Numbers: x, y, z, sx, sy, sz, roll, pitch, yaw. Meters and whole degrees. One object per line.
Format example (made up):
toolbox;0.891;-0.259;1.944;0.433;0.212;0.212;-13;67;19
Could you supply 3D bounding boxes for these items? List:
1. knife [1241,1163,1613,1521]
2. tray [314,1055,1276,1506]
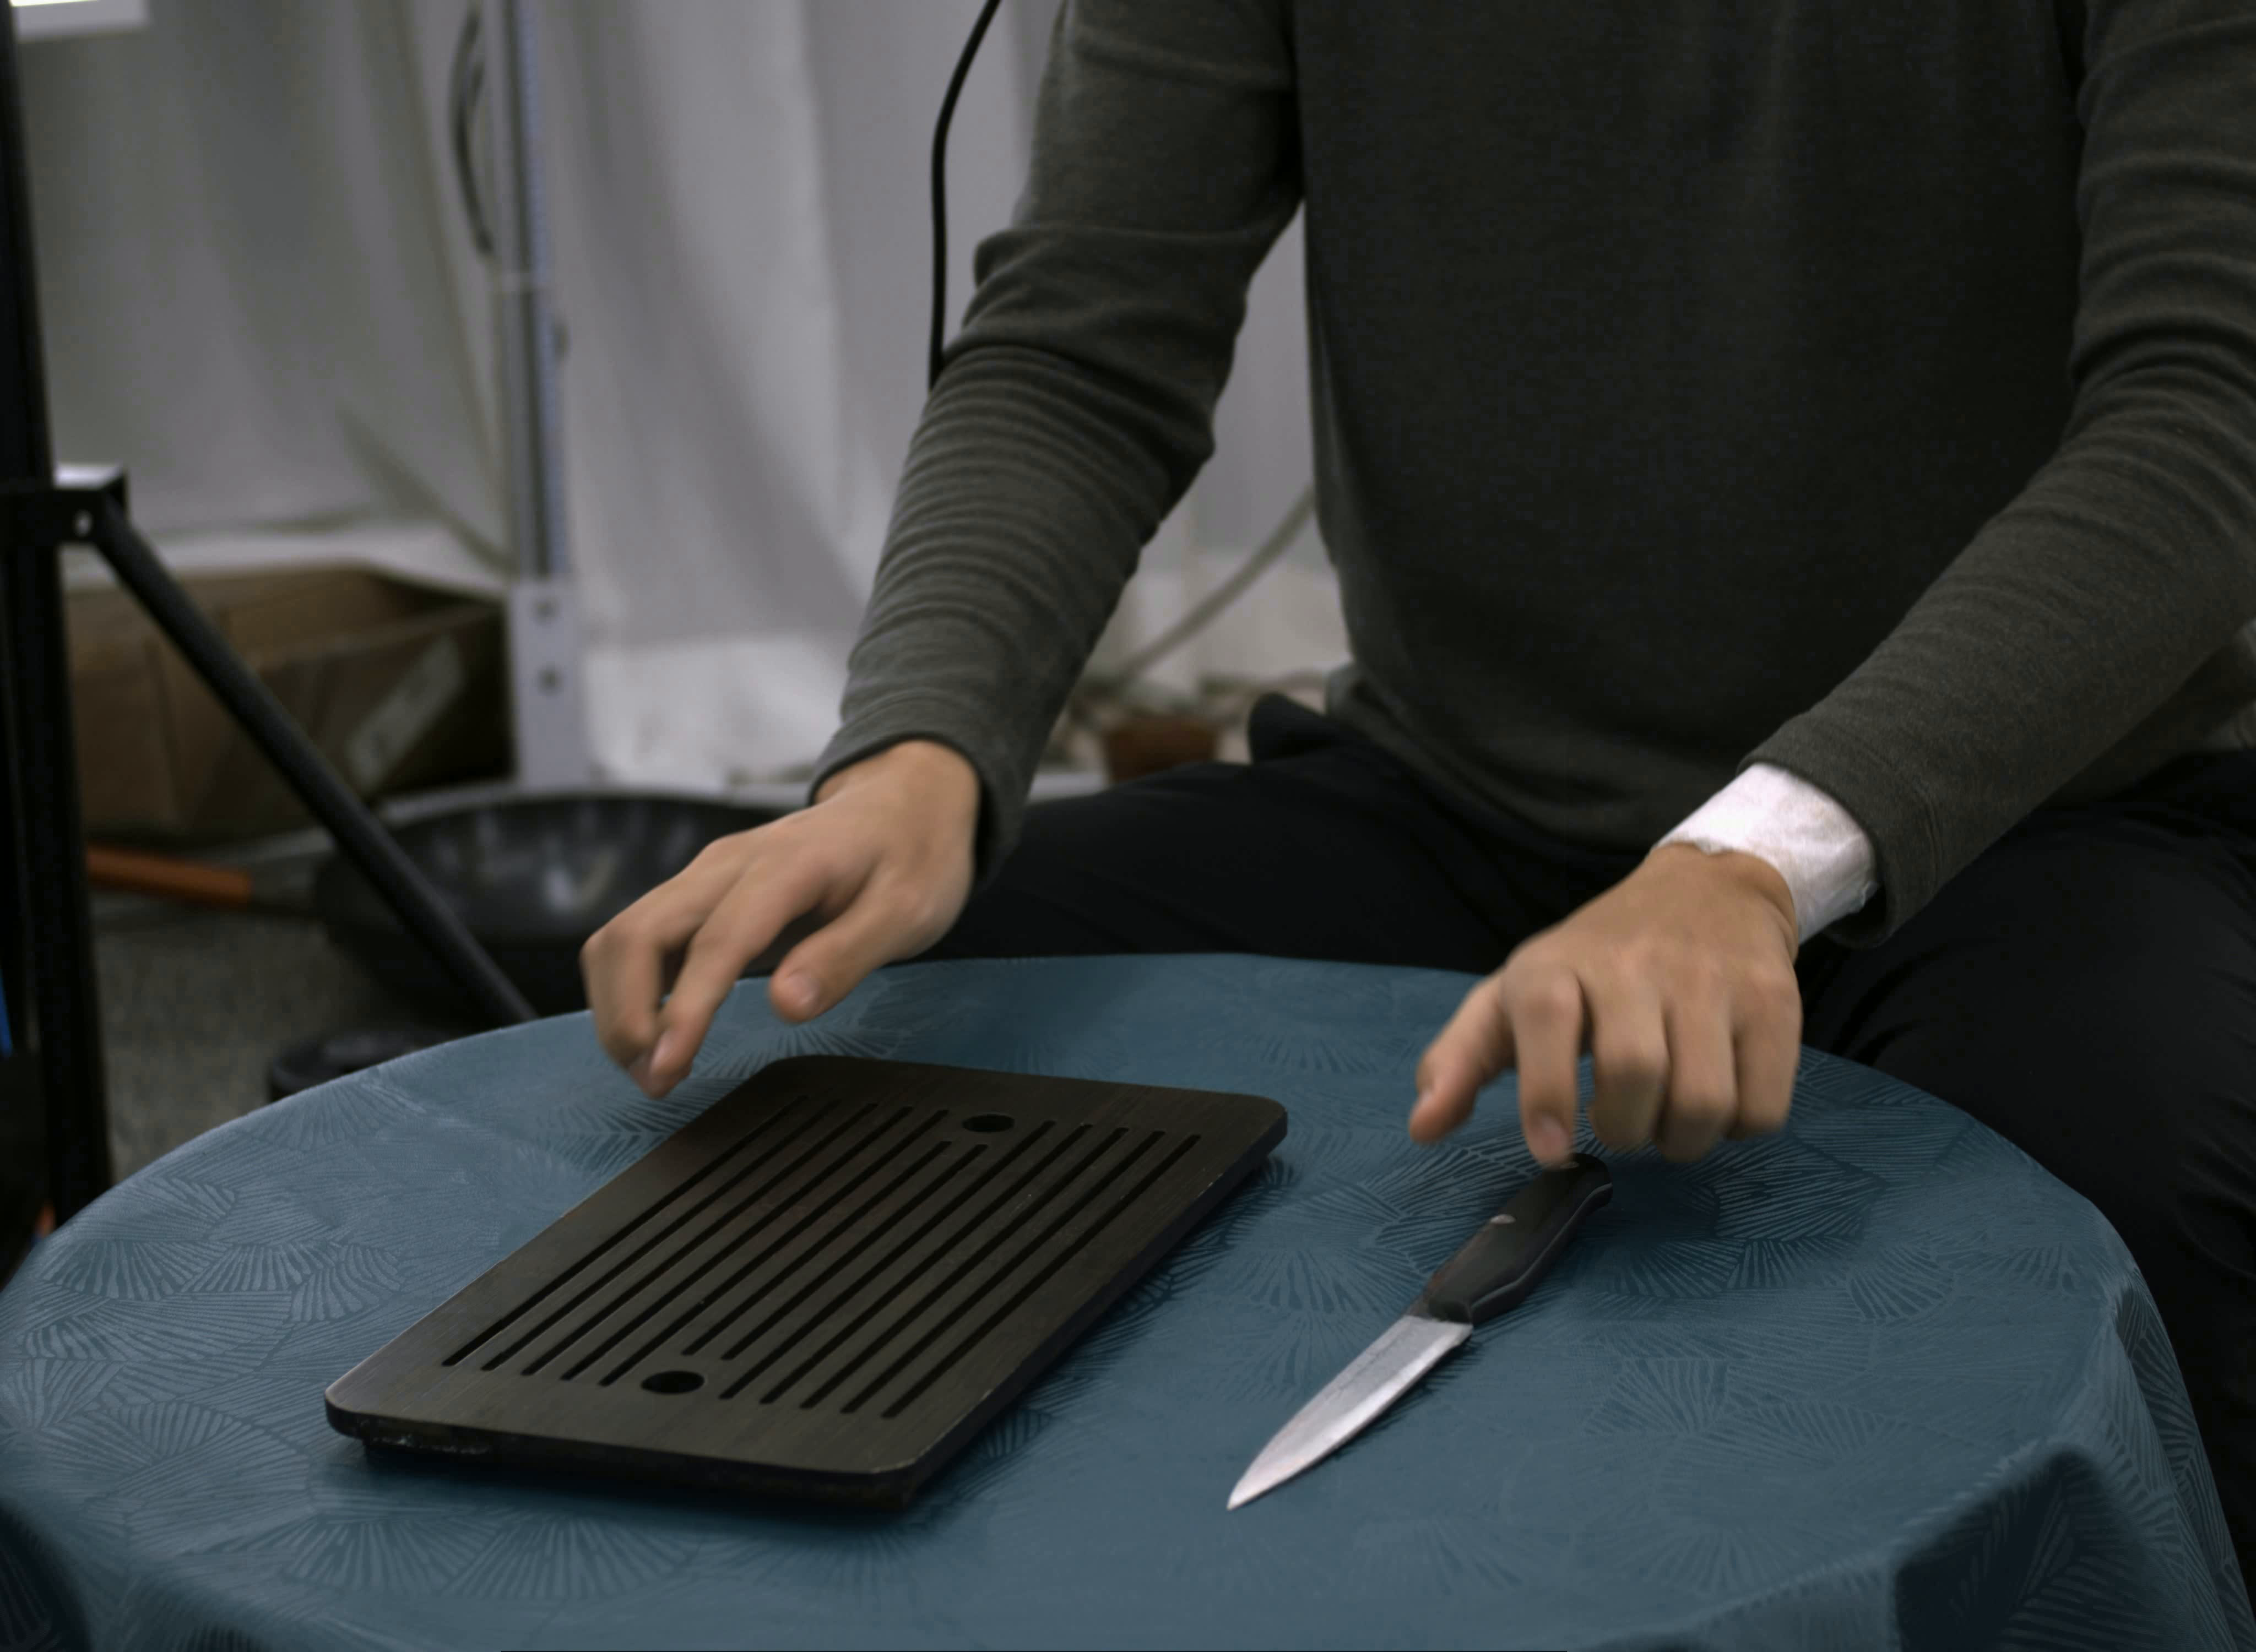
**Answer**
knife;0.080;0.138;1.425;0.025;0.016;0.234;4;20;27
tray;-0.084;0.123;1.488;0.172;0.018;0.302;4;17;21
